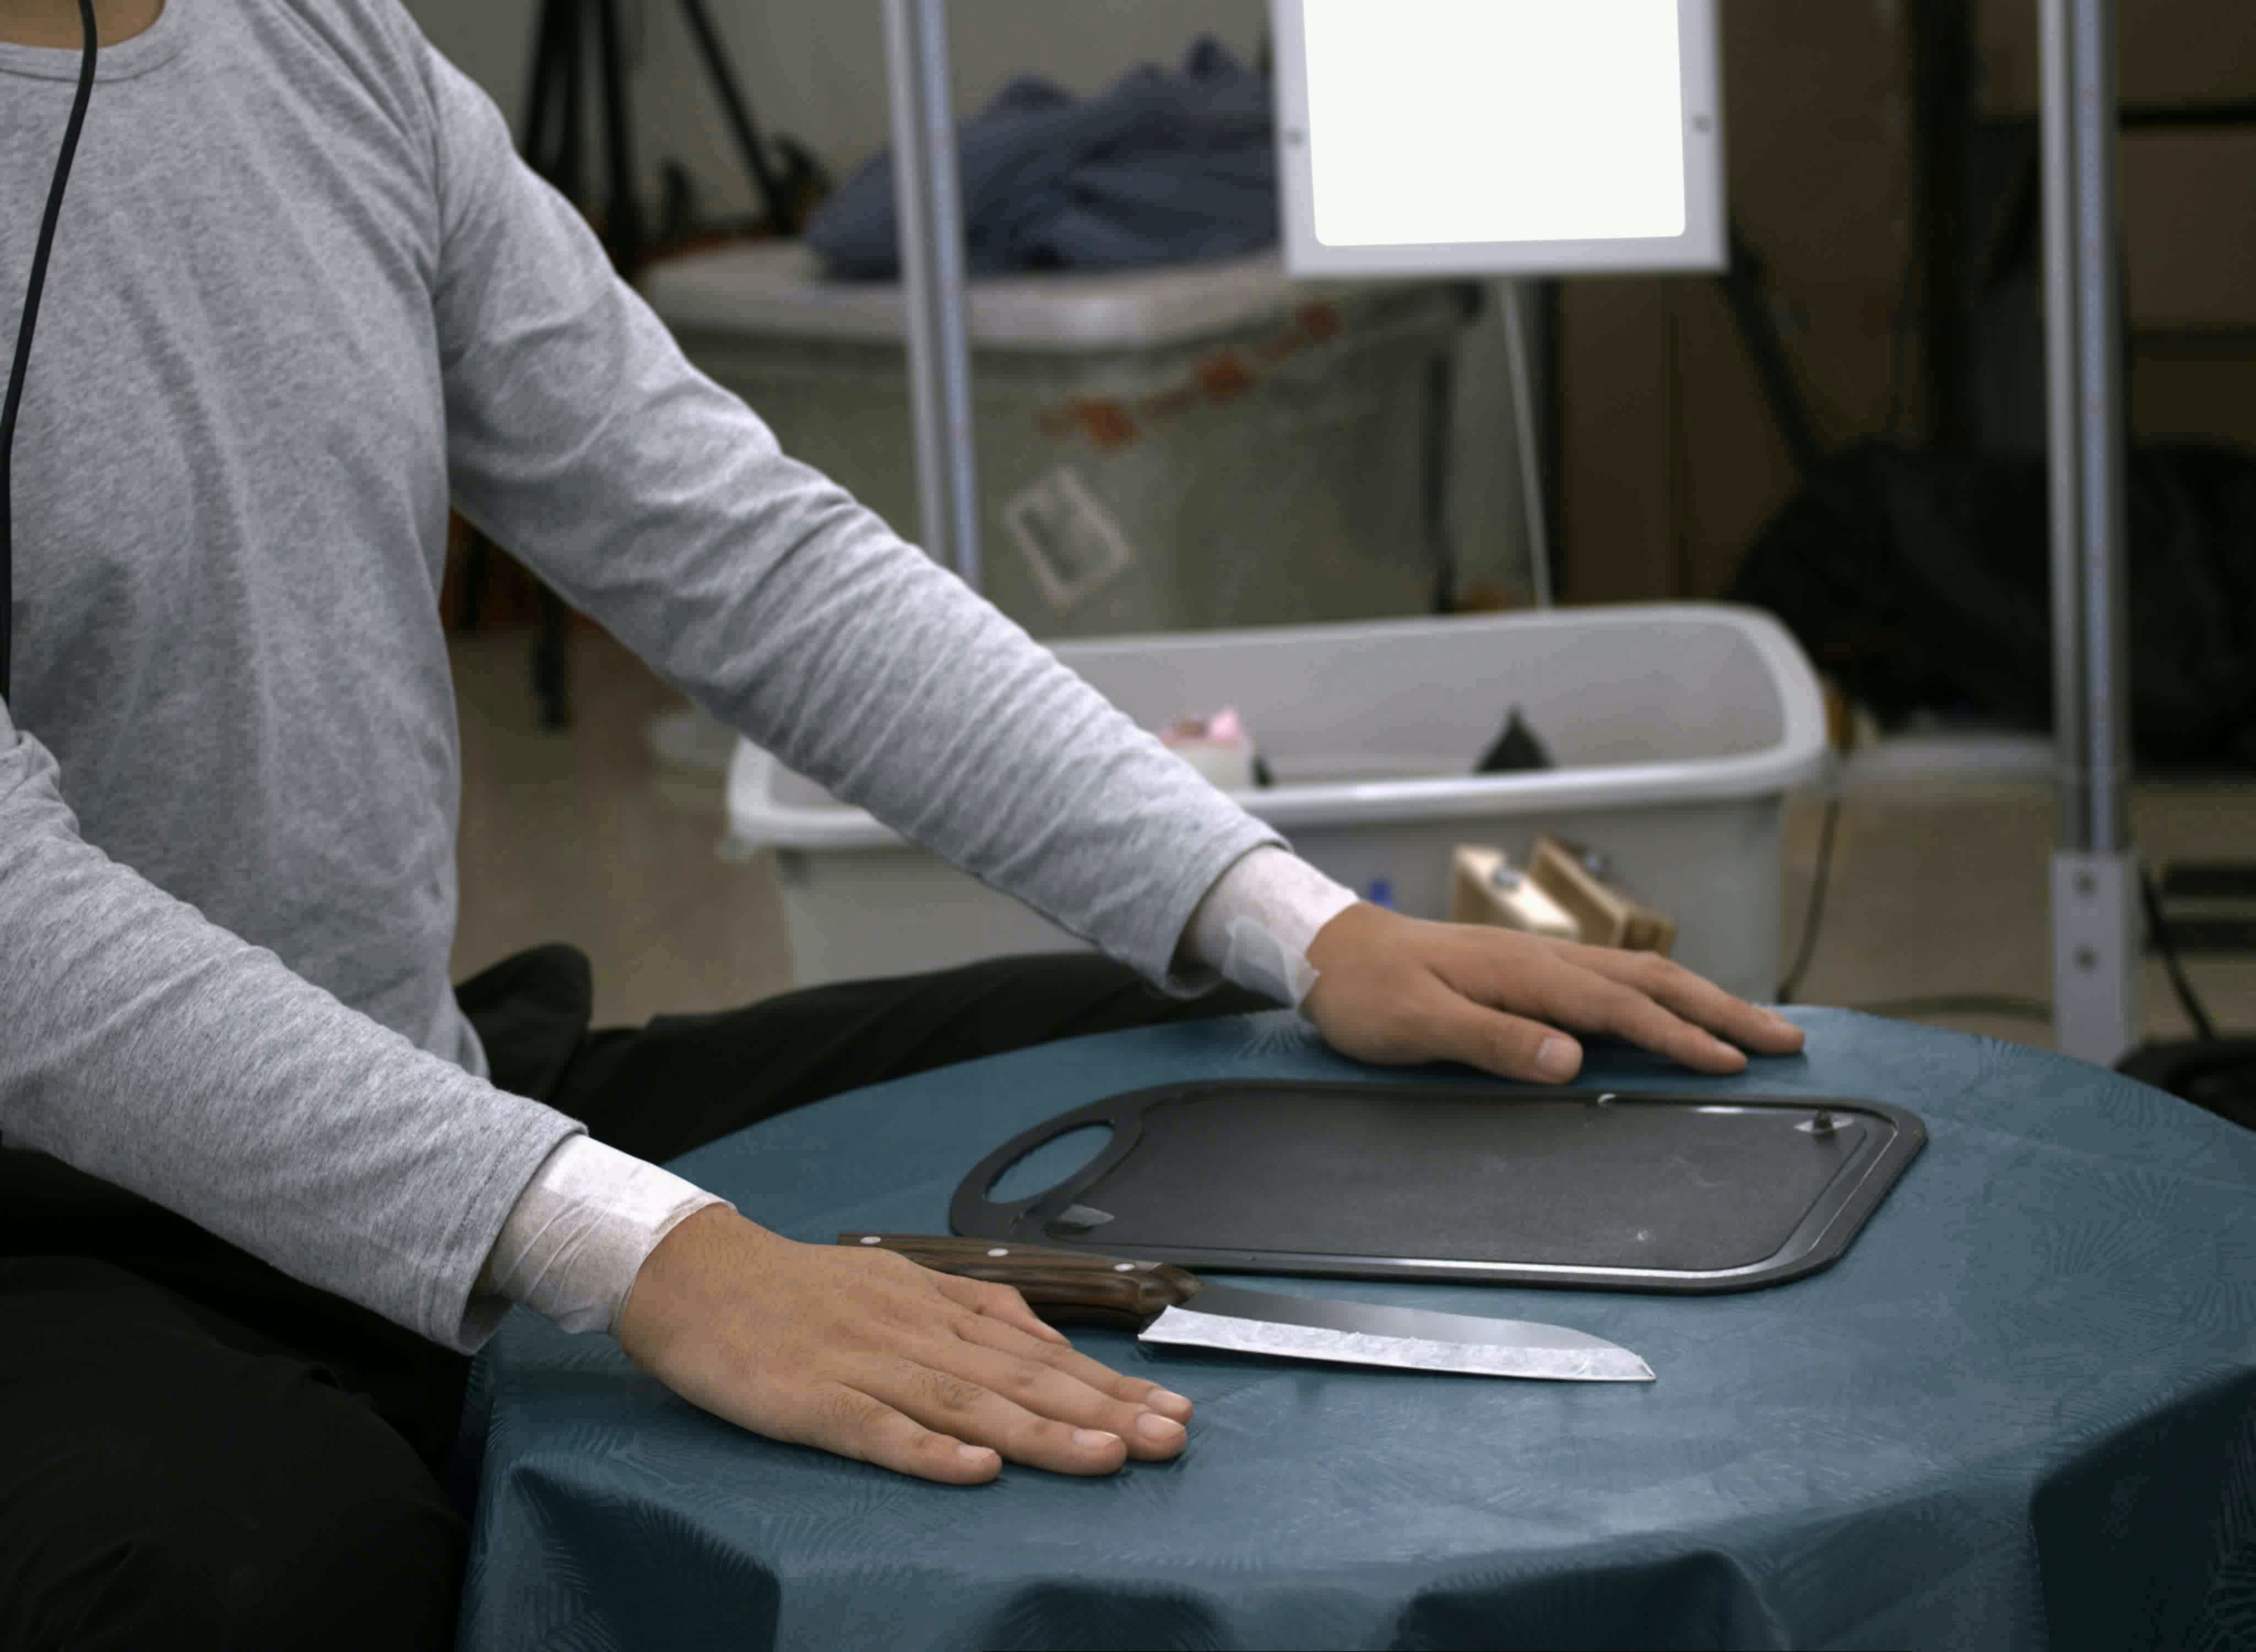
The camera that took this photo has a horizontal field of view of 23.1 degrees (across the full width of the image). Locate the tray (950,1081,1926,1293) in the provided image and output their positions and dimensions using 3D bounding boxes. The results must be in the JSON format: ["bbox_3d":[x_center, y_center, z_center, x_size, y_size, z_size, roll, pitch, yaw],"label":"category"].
[{"bbox_3d":[0.101,0.119,1.884,0.330,0.010,0.207,1,14,24],"label":"tray"}]

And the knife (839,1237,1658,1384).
[{"bbox_3d":[0.033,0.155,1.742,0.294,0.020,0.049,5,22,28],"label":"knife"}]
